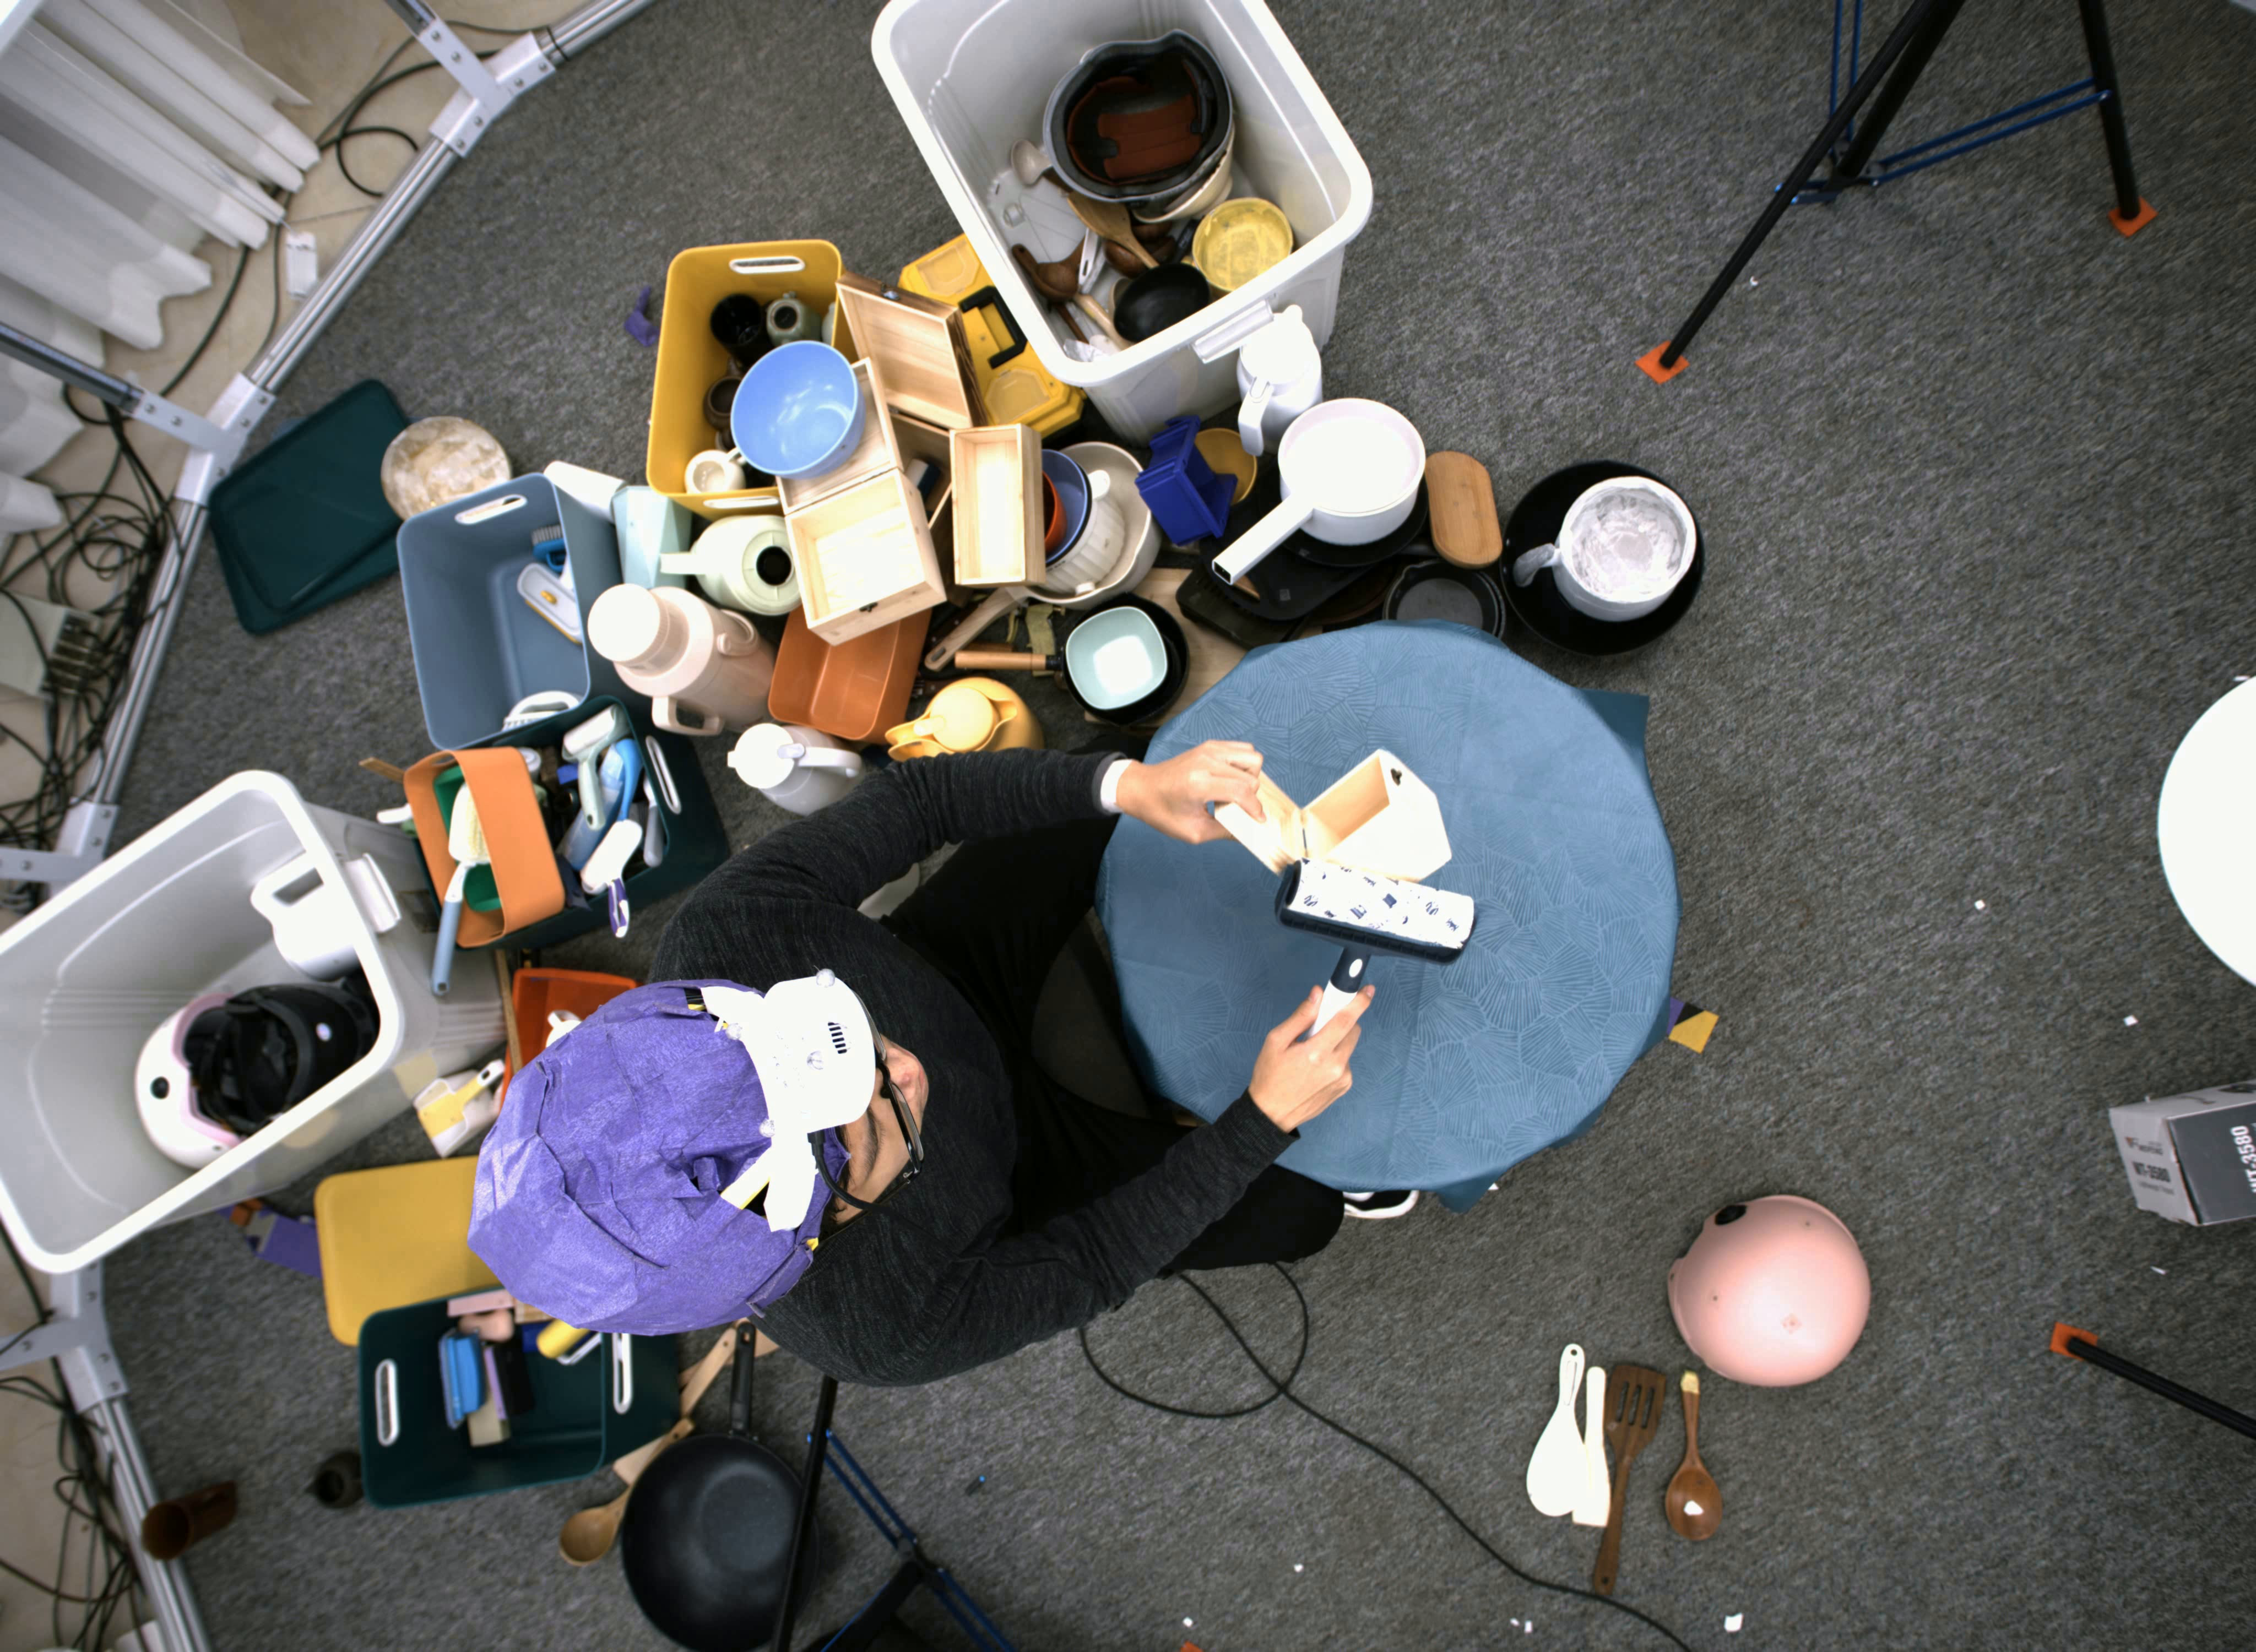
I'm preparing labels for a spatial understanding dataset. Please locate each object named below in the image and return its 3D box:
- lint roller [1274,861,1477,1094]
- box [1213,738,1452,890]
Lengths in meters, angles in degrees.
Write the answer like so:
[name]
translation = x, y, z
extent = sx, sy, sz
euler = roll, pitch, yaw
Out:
[lint roller]
translation = 0.197, 0.154, 1.273
extent = 0.176, 0.049, 0.253
euler = 12, 120, -7
[box]
translation = 0.183, -0.024, 1.246
extent = 0.186, 0.100, 0.136
euler = 39, 119, -22
